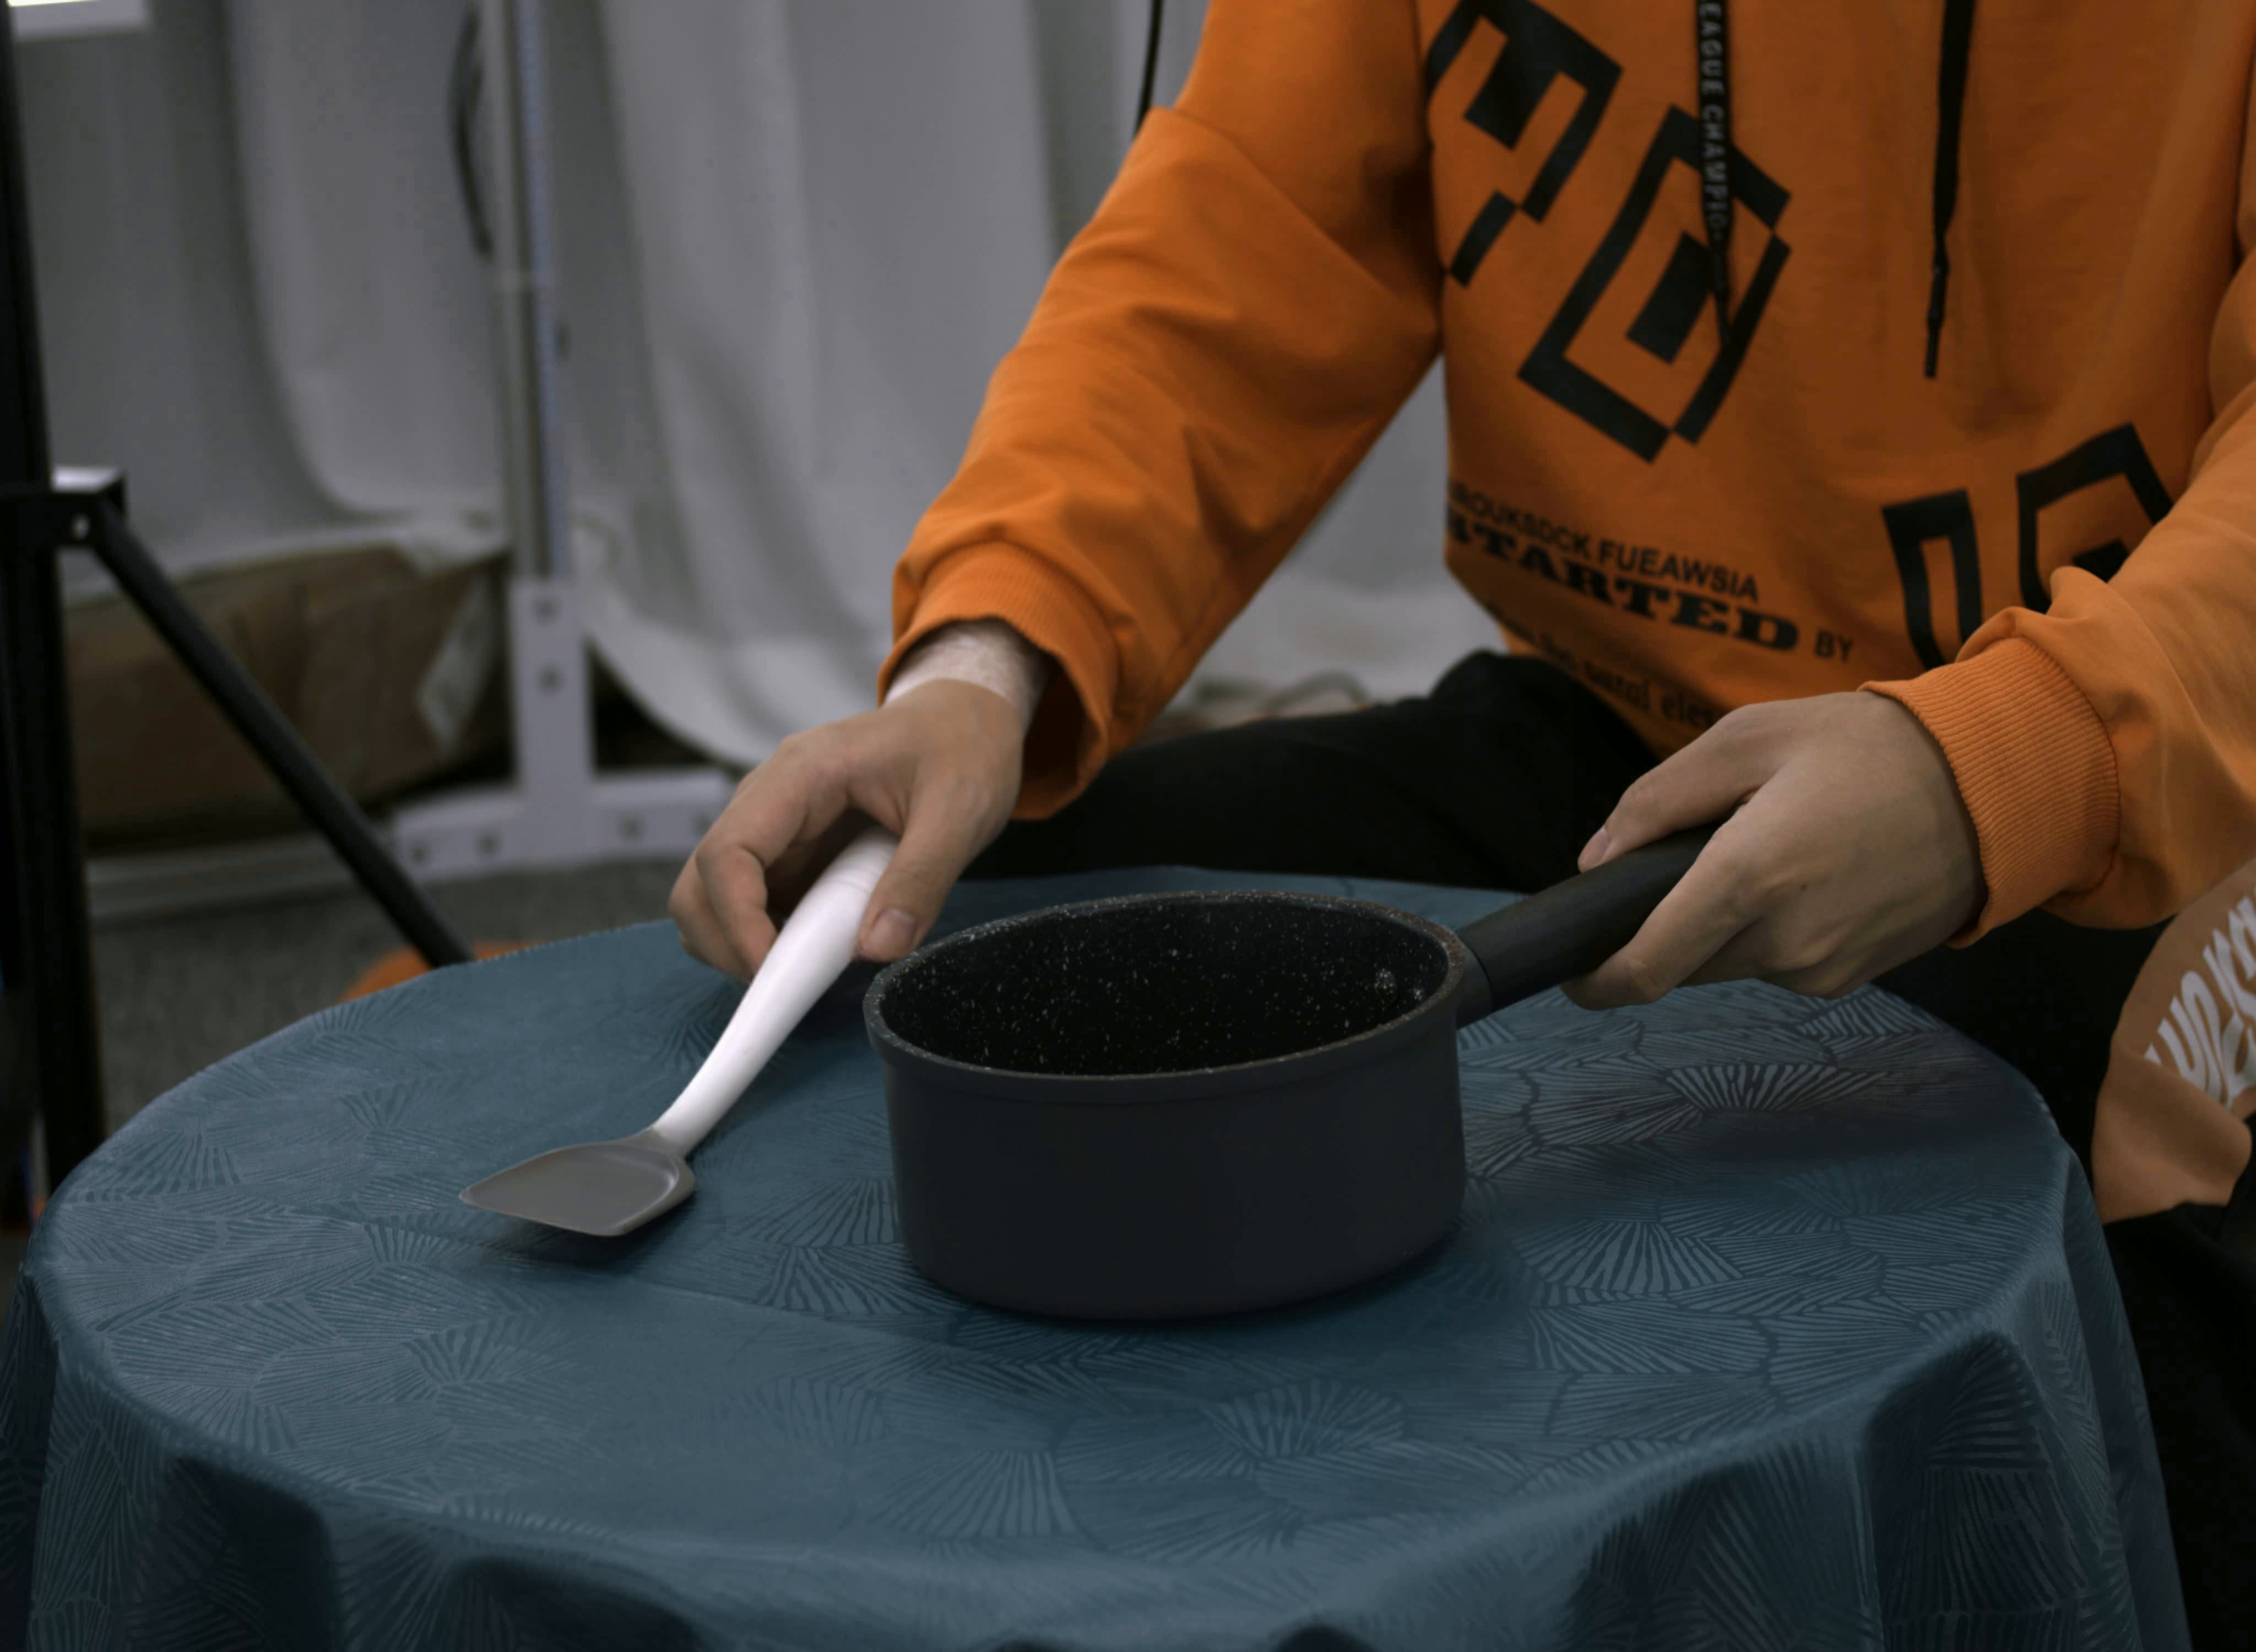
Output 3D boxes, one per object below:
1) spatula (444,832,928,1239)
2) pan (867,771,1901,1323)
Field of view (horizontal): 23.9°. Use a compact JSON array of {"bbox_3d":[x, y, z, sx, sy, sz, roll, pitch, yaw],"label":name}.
[{"bbox_3d":[-0.126,0.069,1.641,0.059,0.032,0.285,15,26,14],"label":"spatula"},{"bbox_3d":[0.083,0.060,1.540,0.322,0.086,0.175,-14,19,-23],"label":"pan"}]
